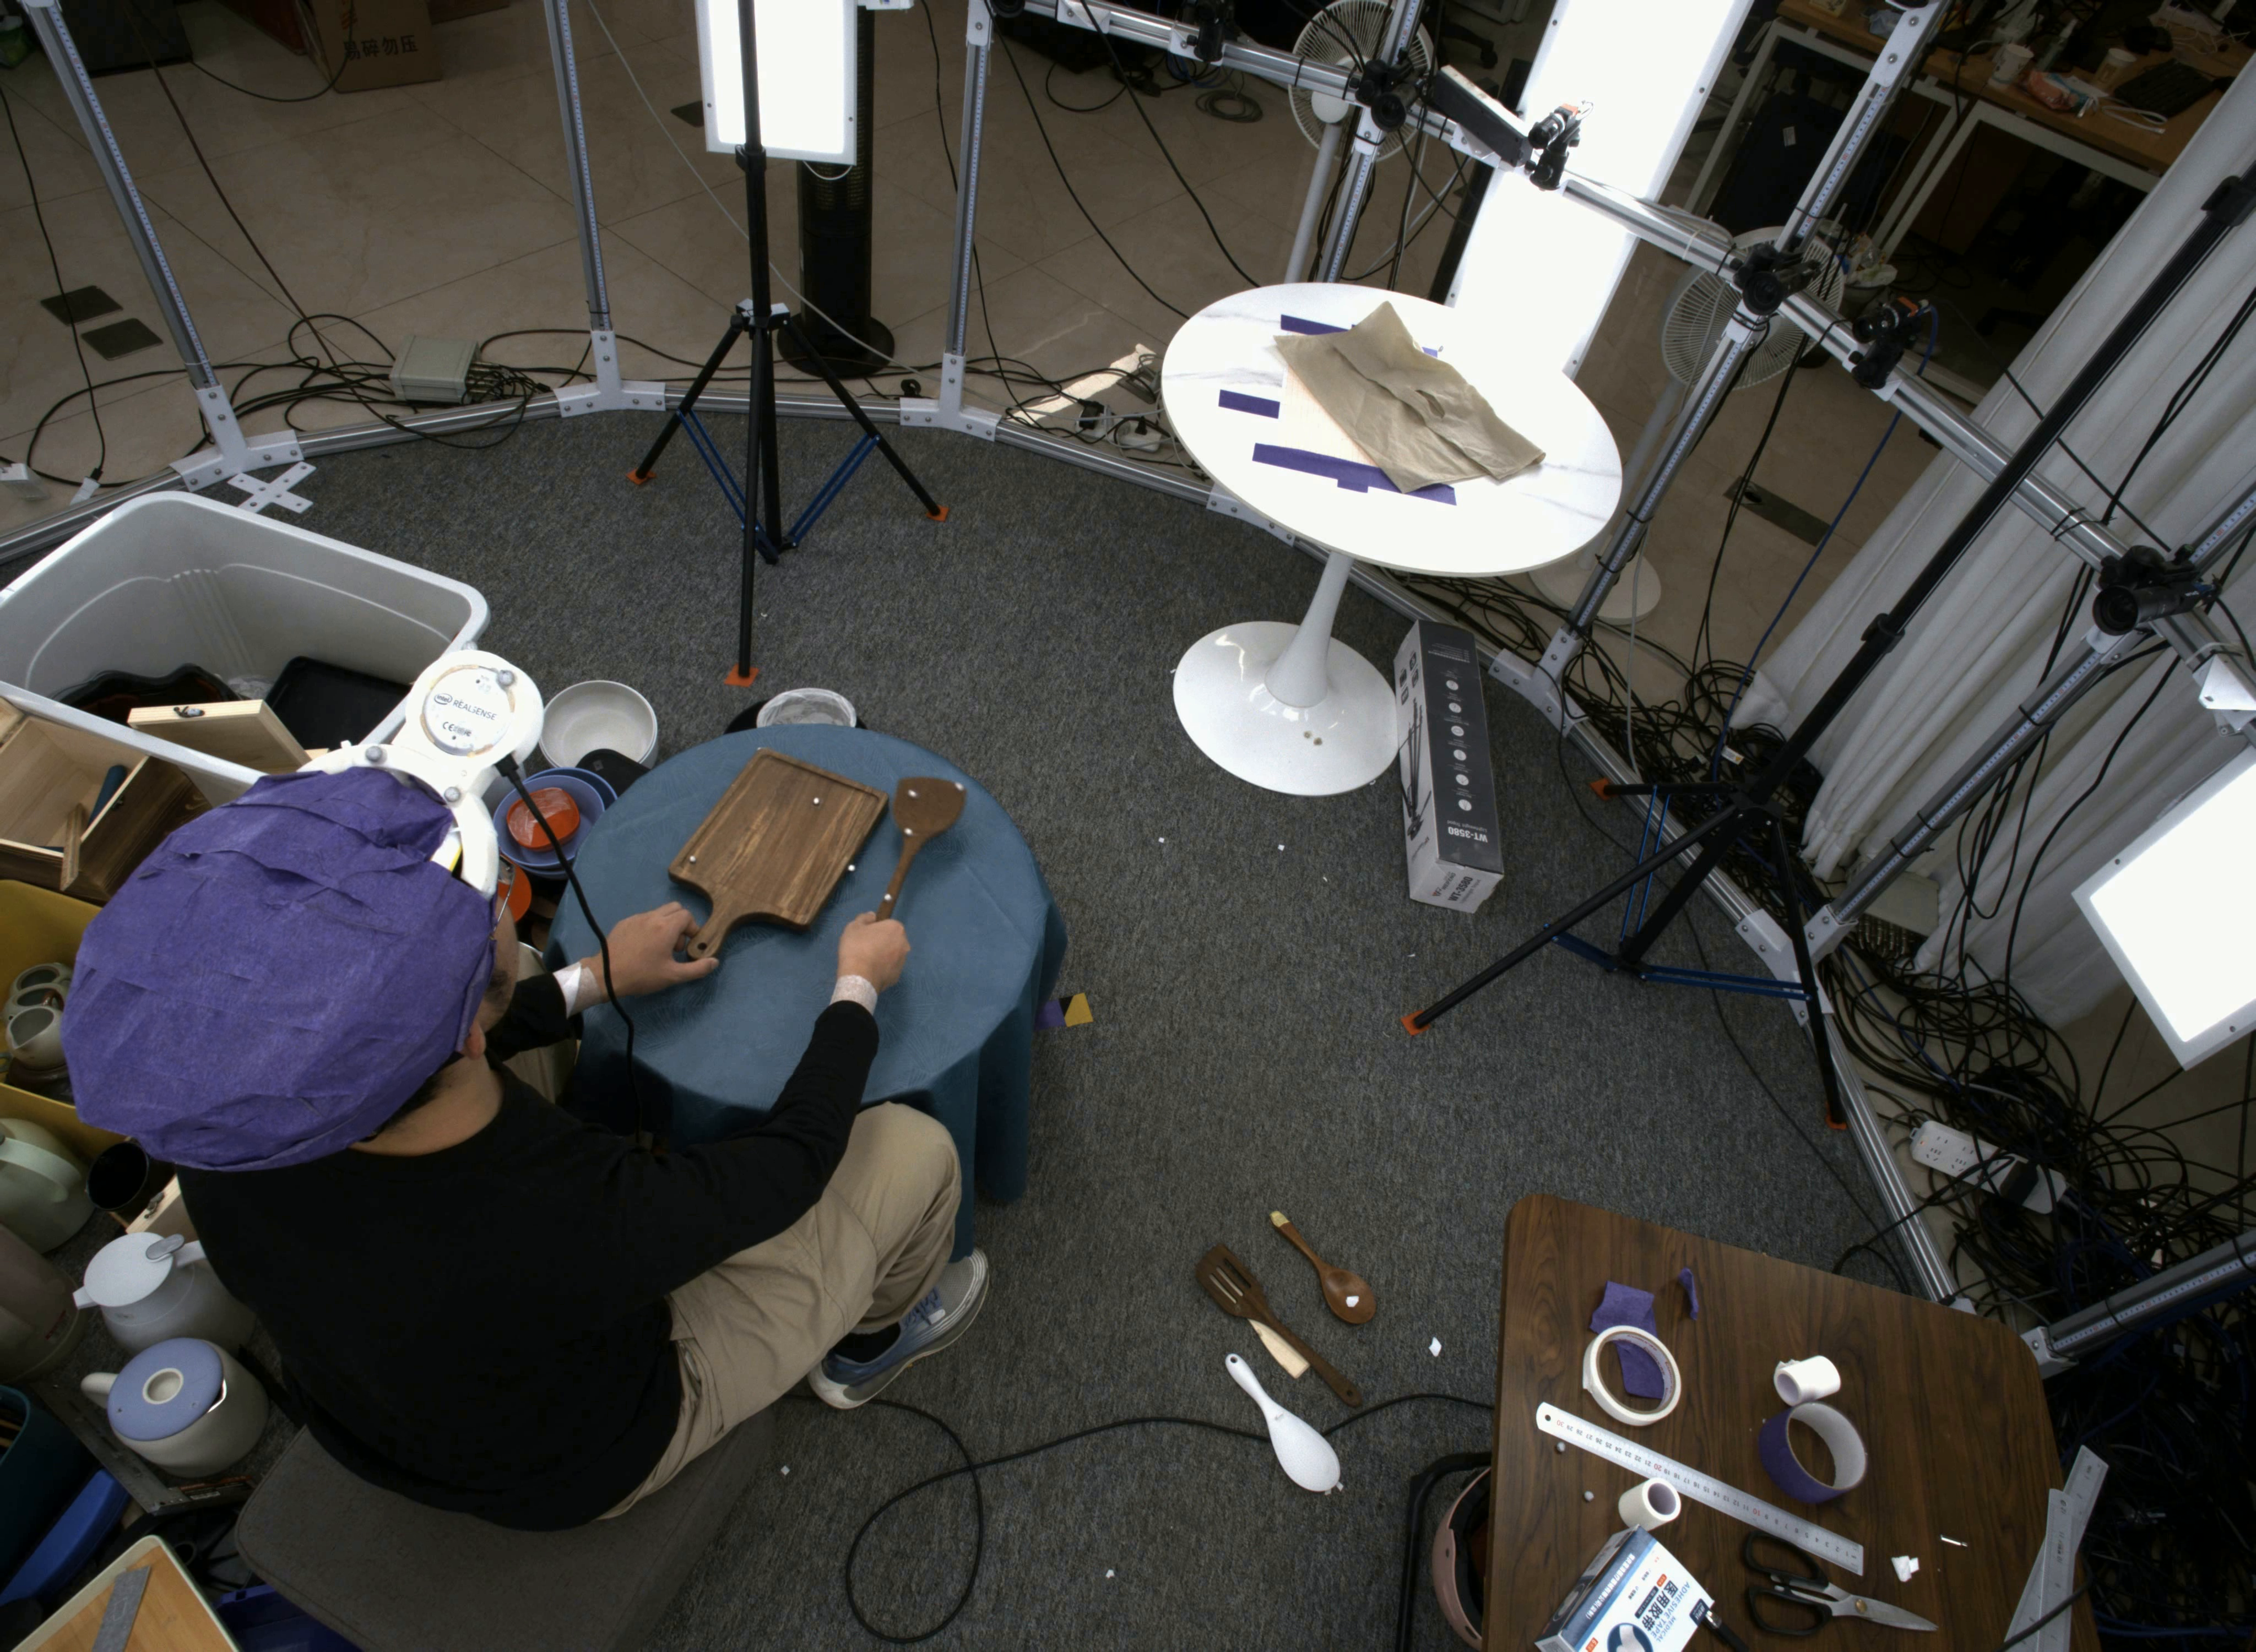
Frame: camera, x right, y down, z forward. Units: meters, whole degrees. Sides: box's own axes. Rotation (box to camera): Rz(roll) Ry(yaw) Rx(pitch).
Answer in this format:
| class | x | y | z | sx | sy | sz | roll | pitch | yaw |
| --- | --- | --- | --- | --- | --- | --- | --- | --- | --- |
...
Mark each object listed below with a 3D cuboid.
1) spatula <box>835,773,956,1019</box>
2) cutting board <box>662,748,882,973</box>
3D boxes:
| class | x | y | z | sx | sy | sz | roll | pitch | yaw |
| --- | --- | --- | --- | --- | --- | --- | --- | --- | --- |
| spatula | -0.299 | 0.074 | 1.616 | 0.095 | 0.016 | 0.380 | 8 | 50 | 3 |
| cutting board | -0.470 | 0.045 | 1.645 | 0.199 | 0.024 | 0.348 | 21 | 47 | 1 |
